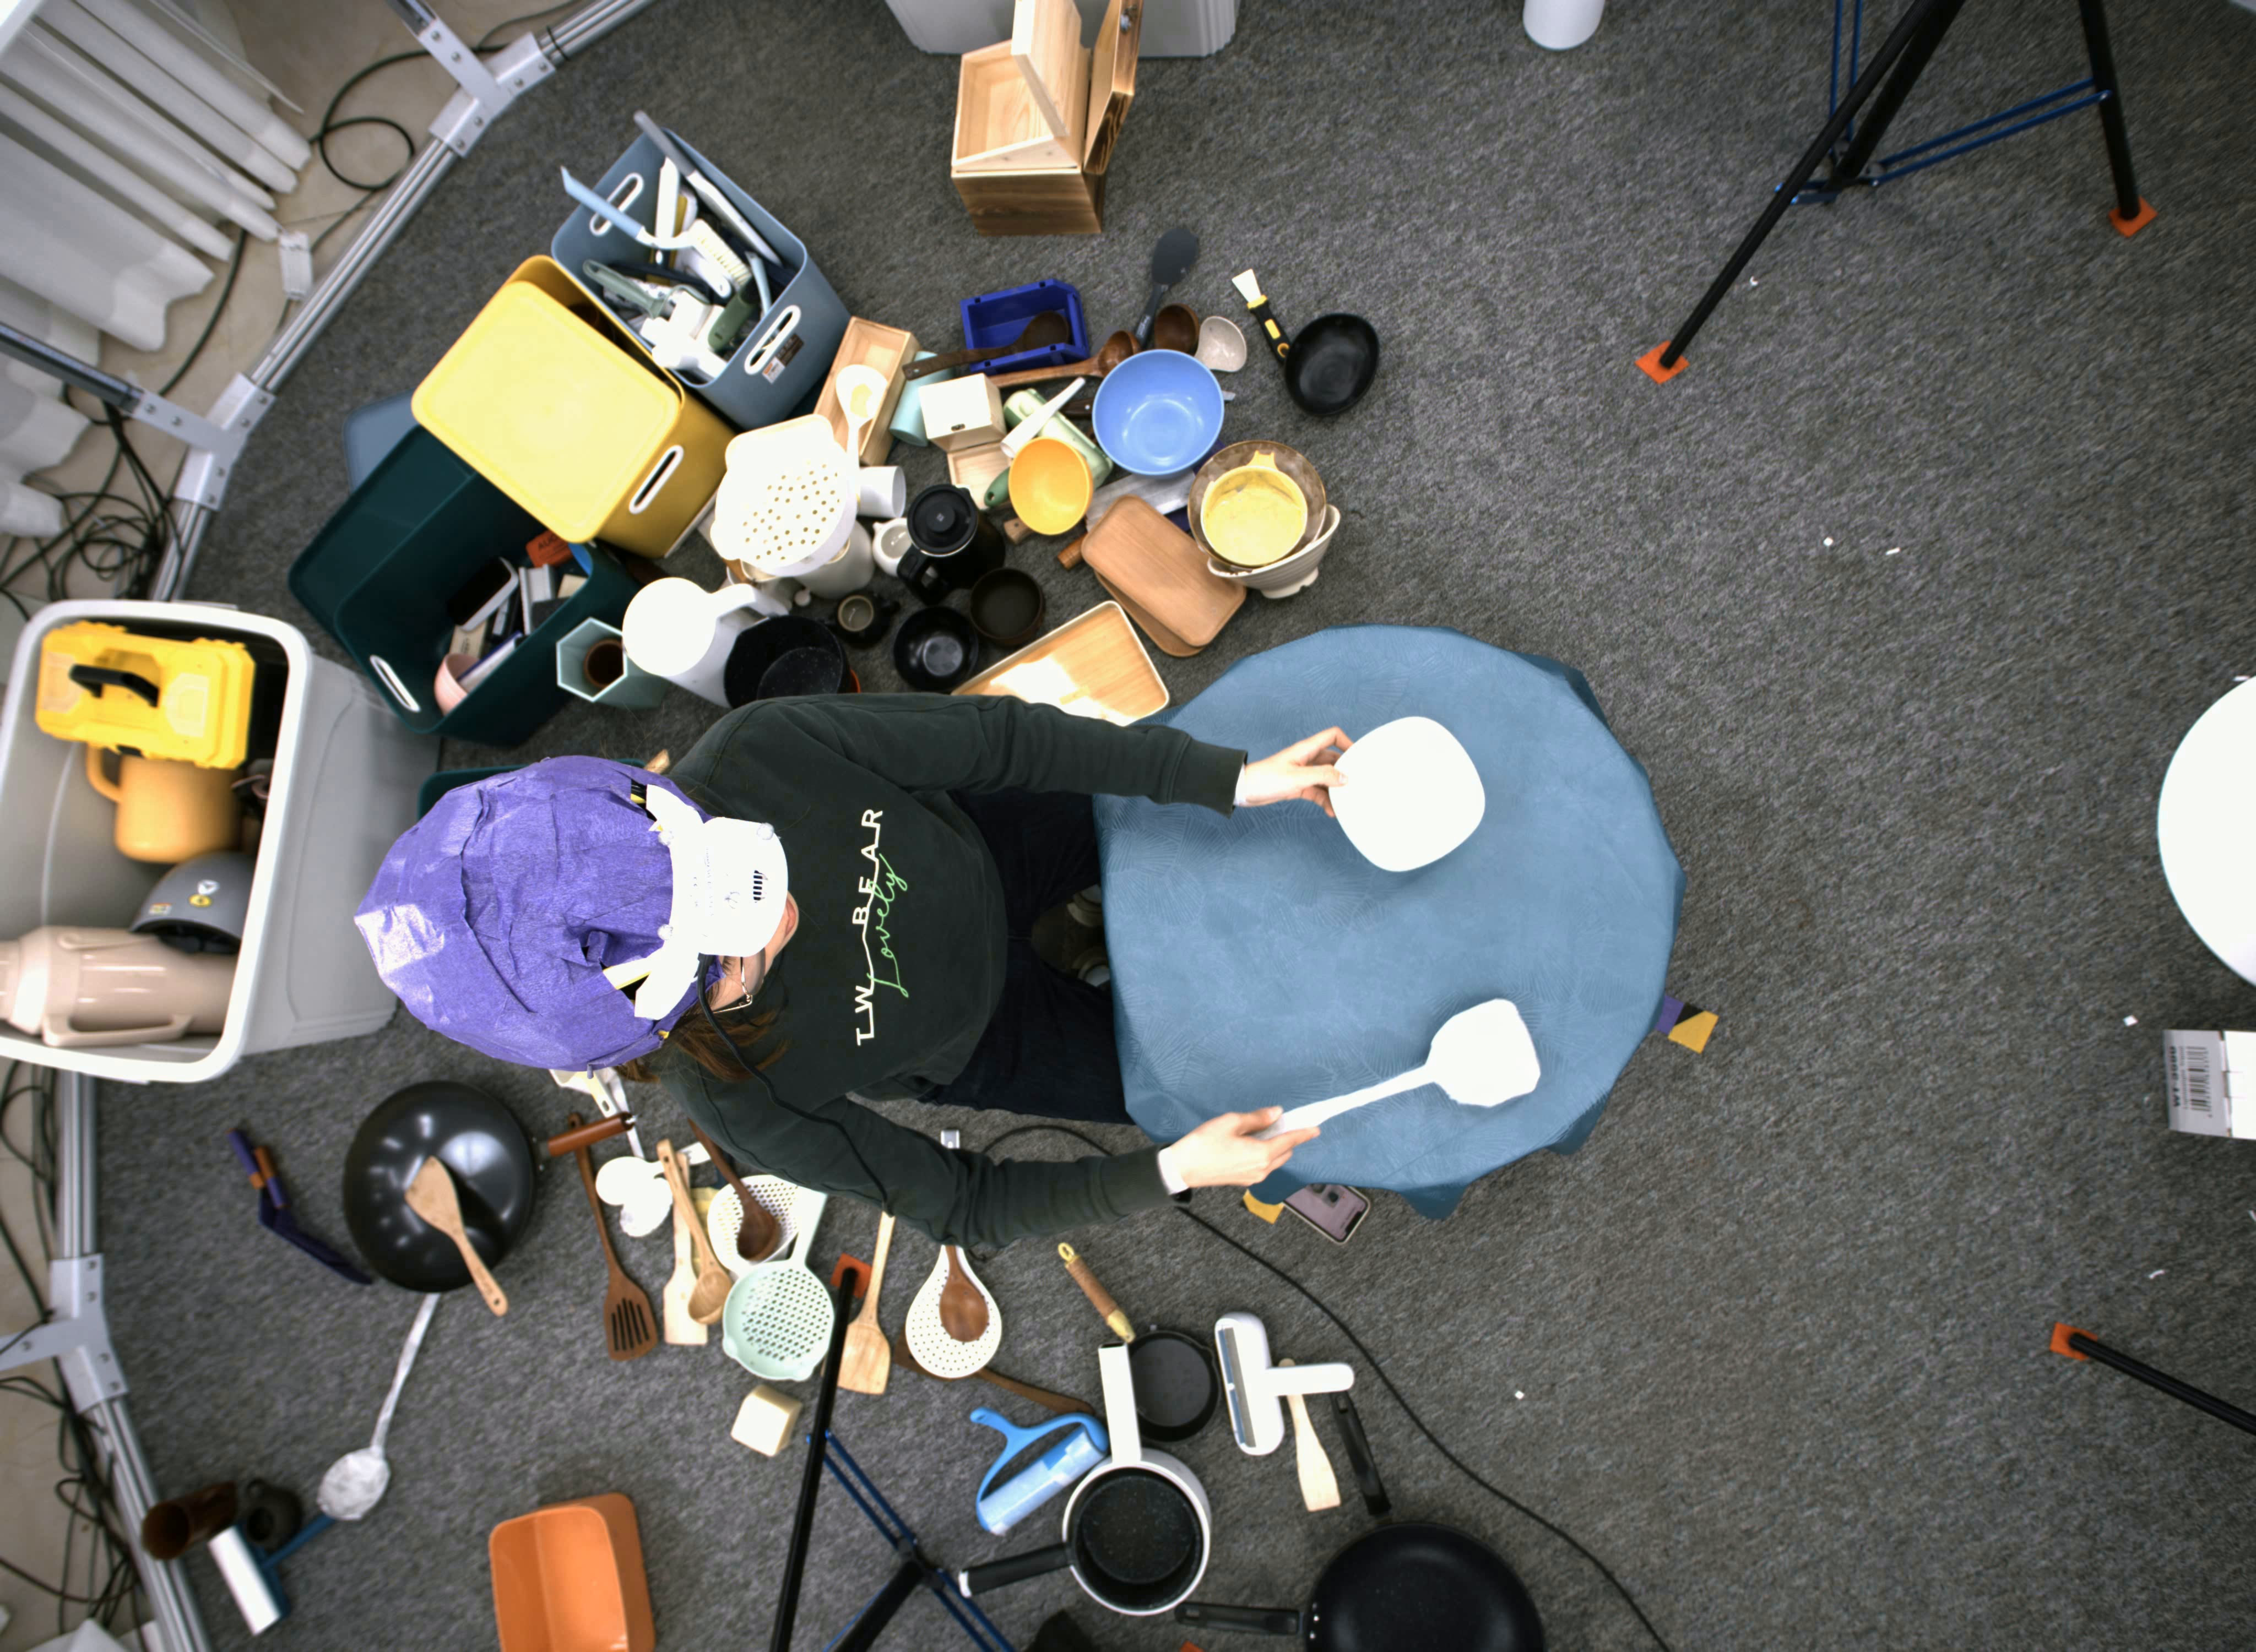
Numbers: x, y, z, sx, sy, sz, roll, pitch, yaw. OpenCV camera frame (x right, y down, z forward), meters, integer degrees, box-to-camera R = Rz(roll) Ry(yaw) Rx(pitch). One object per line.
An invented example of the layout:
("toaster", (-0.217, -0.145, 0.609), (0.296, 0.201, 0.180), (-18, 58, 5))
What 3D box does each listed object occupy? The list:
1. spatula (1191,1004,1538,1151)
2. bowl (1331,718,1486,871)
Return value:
("spatula", (0.236, 0.262, 1.358), (0.362, 0.045, 0.098), (-13, 80, -17))
("bowl", (0.274, -0.034, 1.362), (0.152, 0.058, 0.152), (1, 97, 6))
